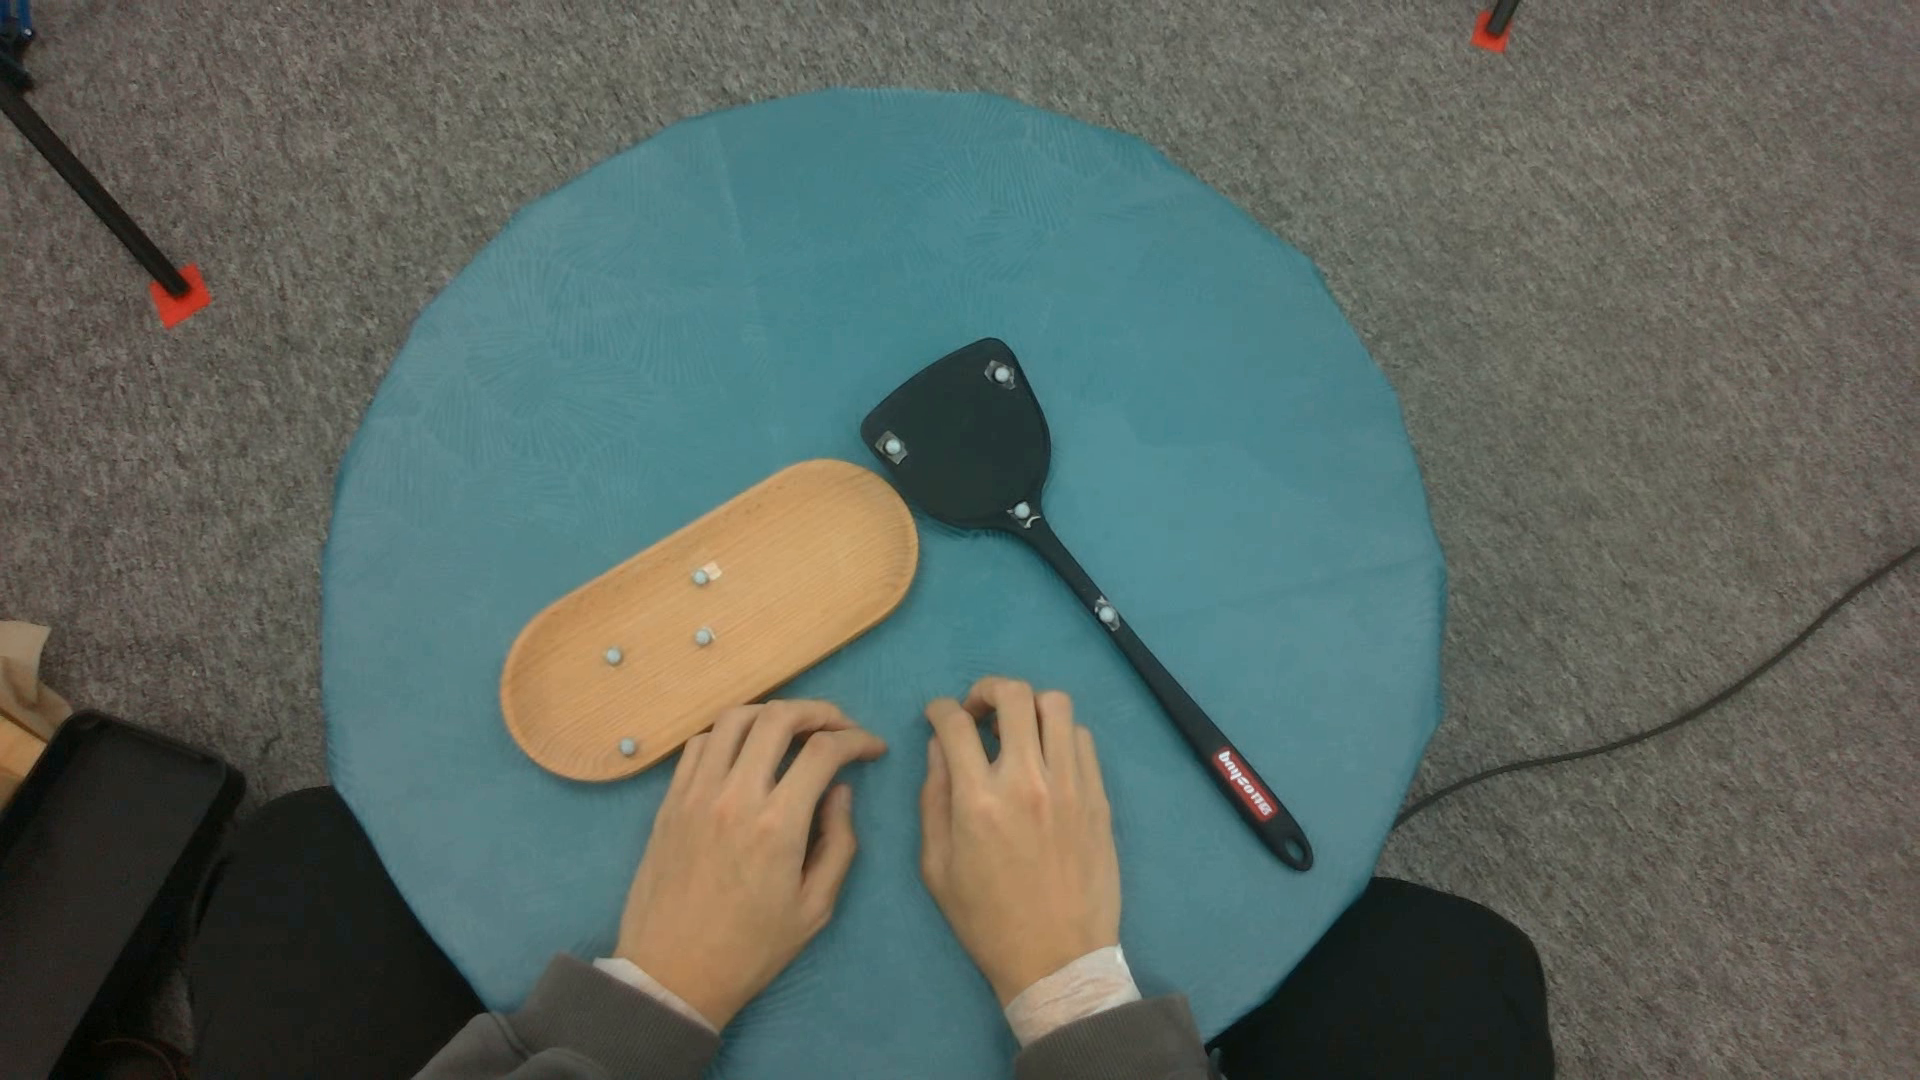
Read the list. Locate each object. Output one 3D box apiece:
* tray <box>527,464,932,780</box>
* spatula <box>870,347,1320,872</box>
[{"bbox_3d":[-0.120,0.042,0.734,0.231,0.020,0.102,-32,73,-14],"label":"tray"},{"bbox_3d":[0.082,0.040,0.728,0.100,0.040,0.326,-35,74,-12],"label":"spatula"}]
